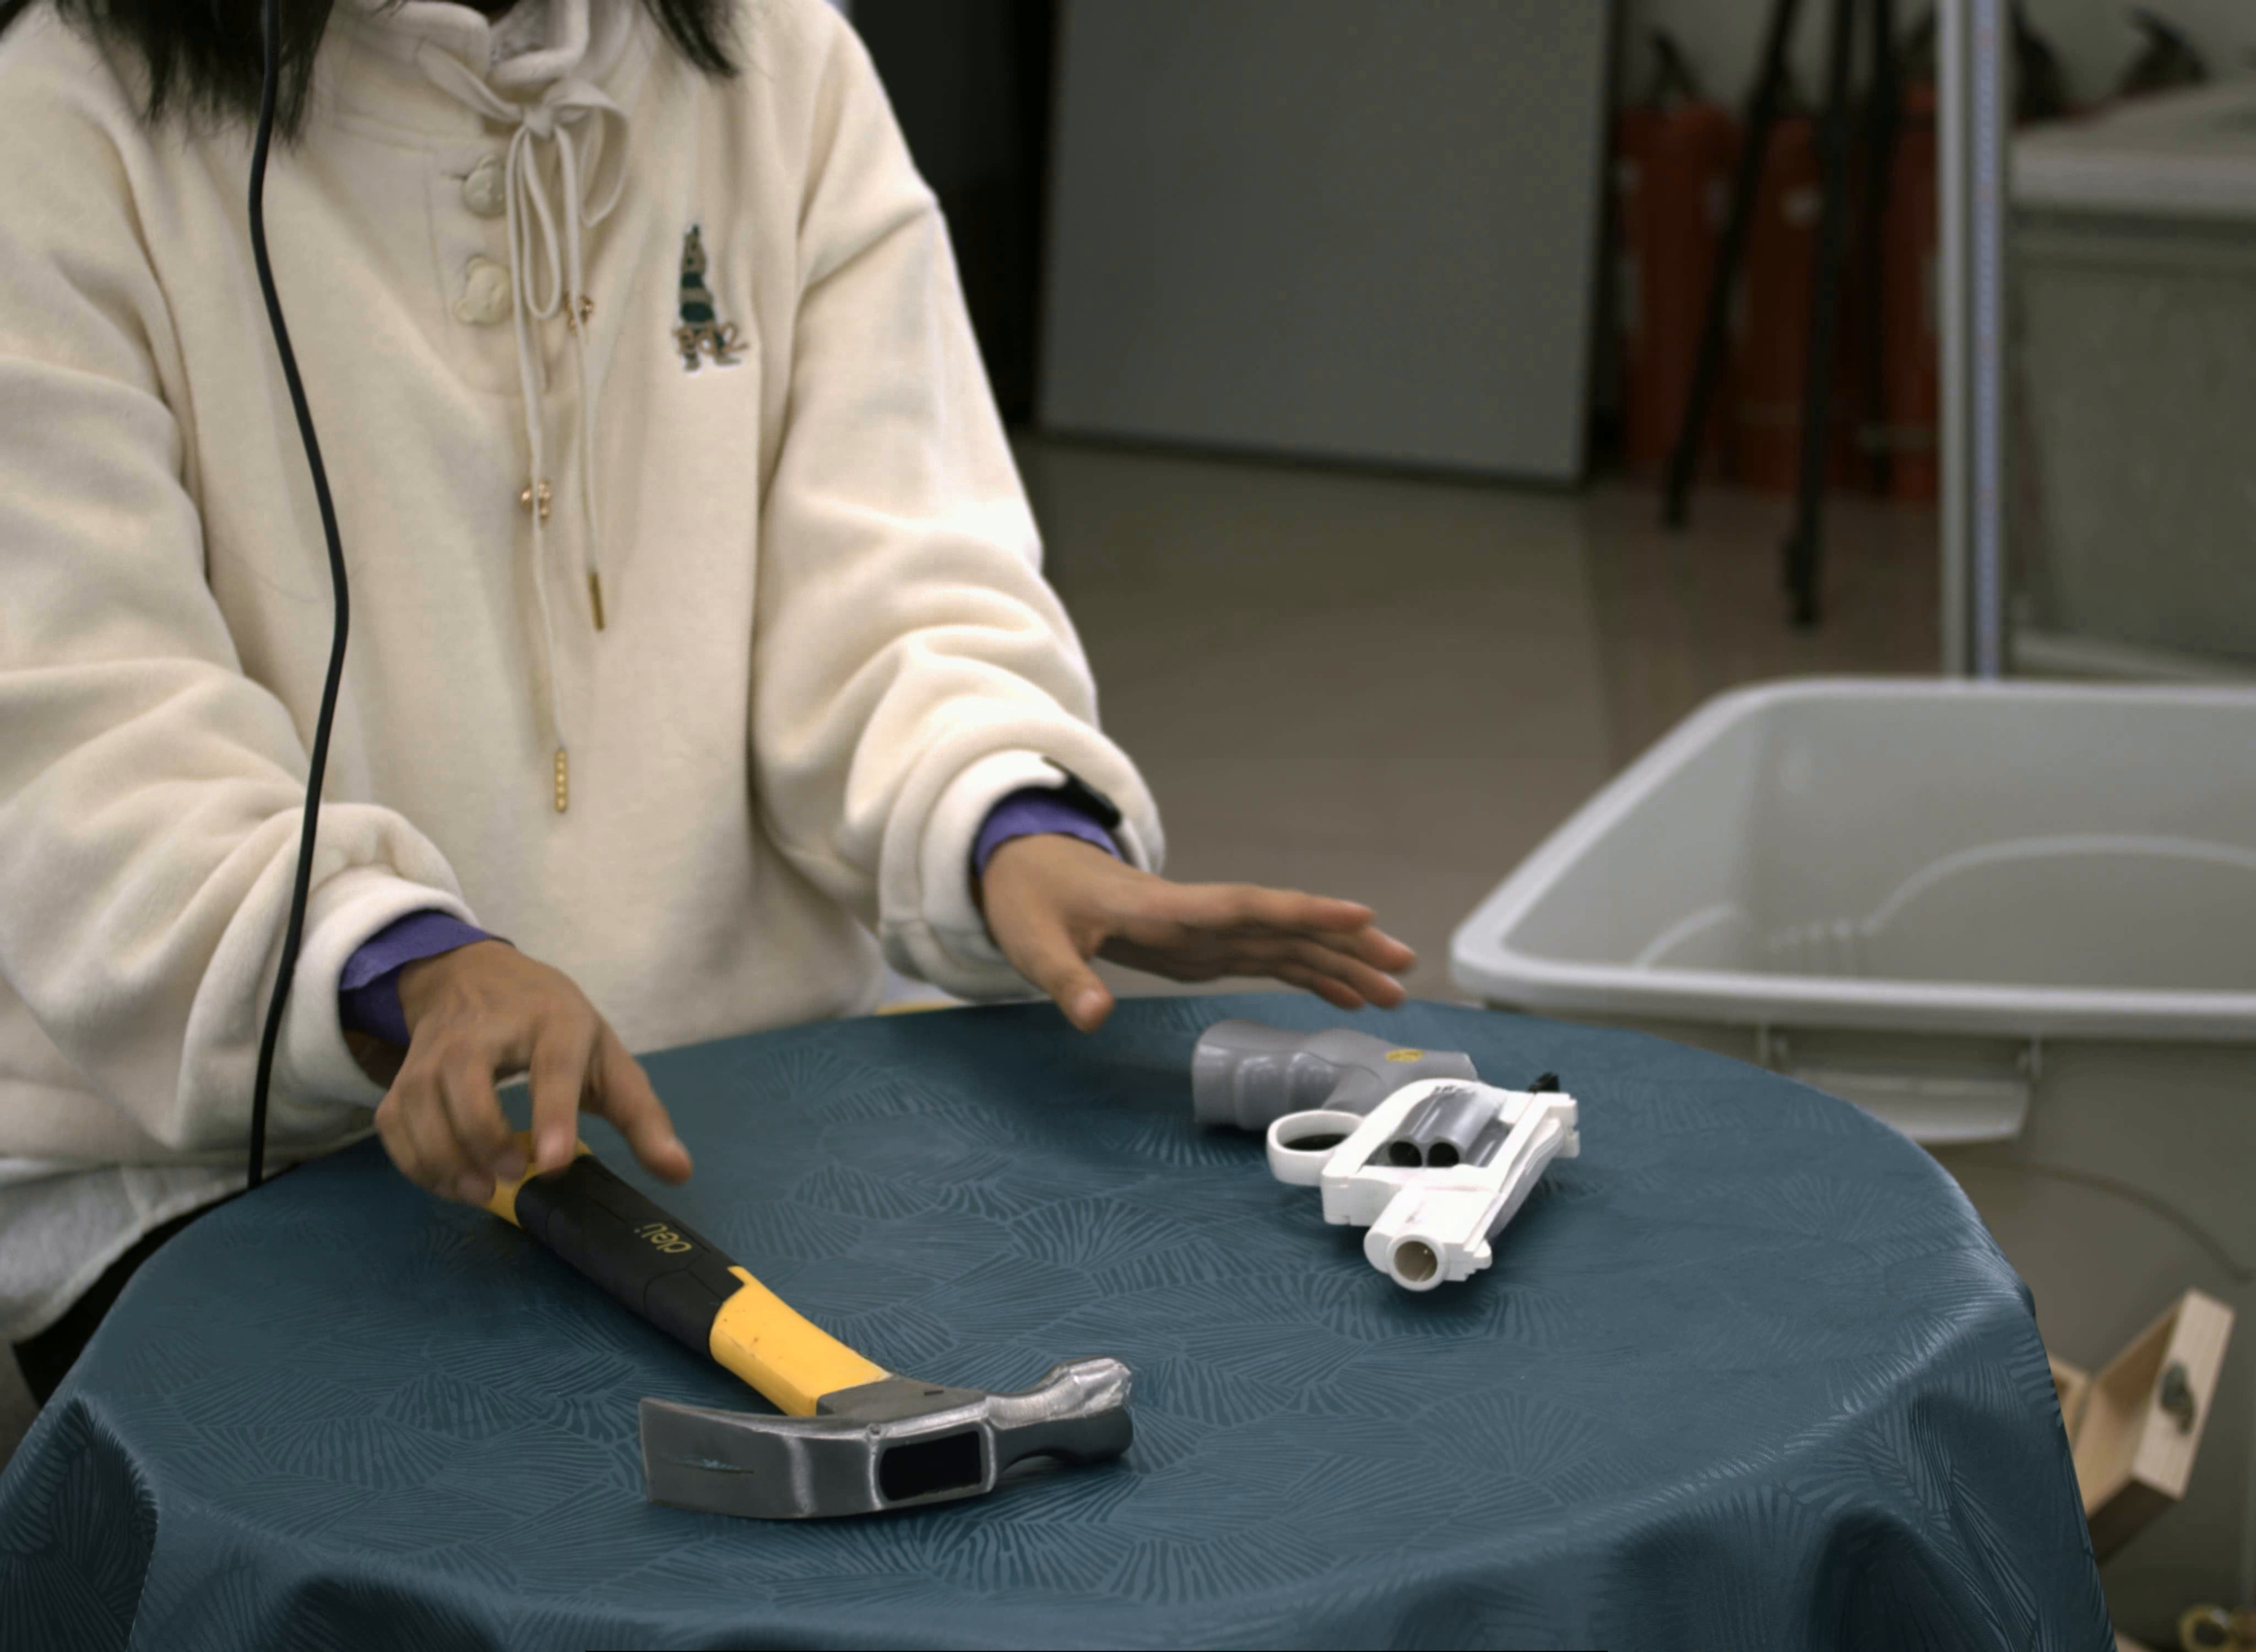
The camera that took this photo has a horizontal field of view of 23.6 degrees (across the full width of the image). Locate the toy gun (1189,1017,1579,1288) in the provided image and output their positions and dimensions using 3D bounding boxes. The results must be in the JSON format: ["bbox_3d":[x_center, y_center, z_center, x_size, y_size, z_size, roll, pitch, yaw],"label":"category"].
[{"bbox_3d":[0.072,0.103,1.737,0.141,0.039,0.207,1,14,15],"label":"toy gun"}]

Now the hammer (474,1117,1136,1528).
[{"bbox_3d":[-0.127,0.143,1.644,0.128,0.032,0.342,-13,17,-23],"label":"hammer"}]
